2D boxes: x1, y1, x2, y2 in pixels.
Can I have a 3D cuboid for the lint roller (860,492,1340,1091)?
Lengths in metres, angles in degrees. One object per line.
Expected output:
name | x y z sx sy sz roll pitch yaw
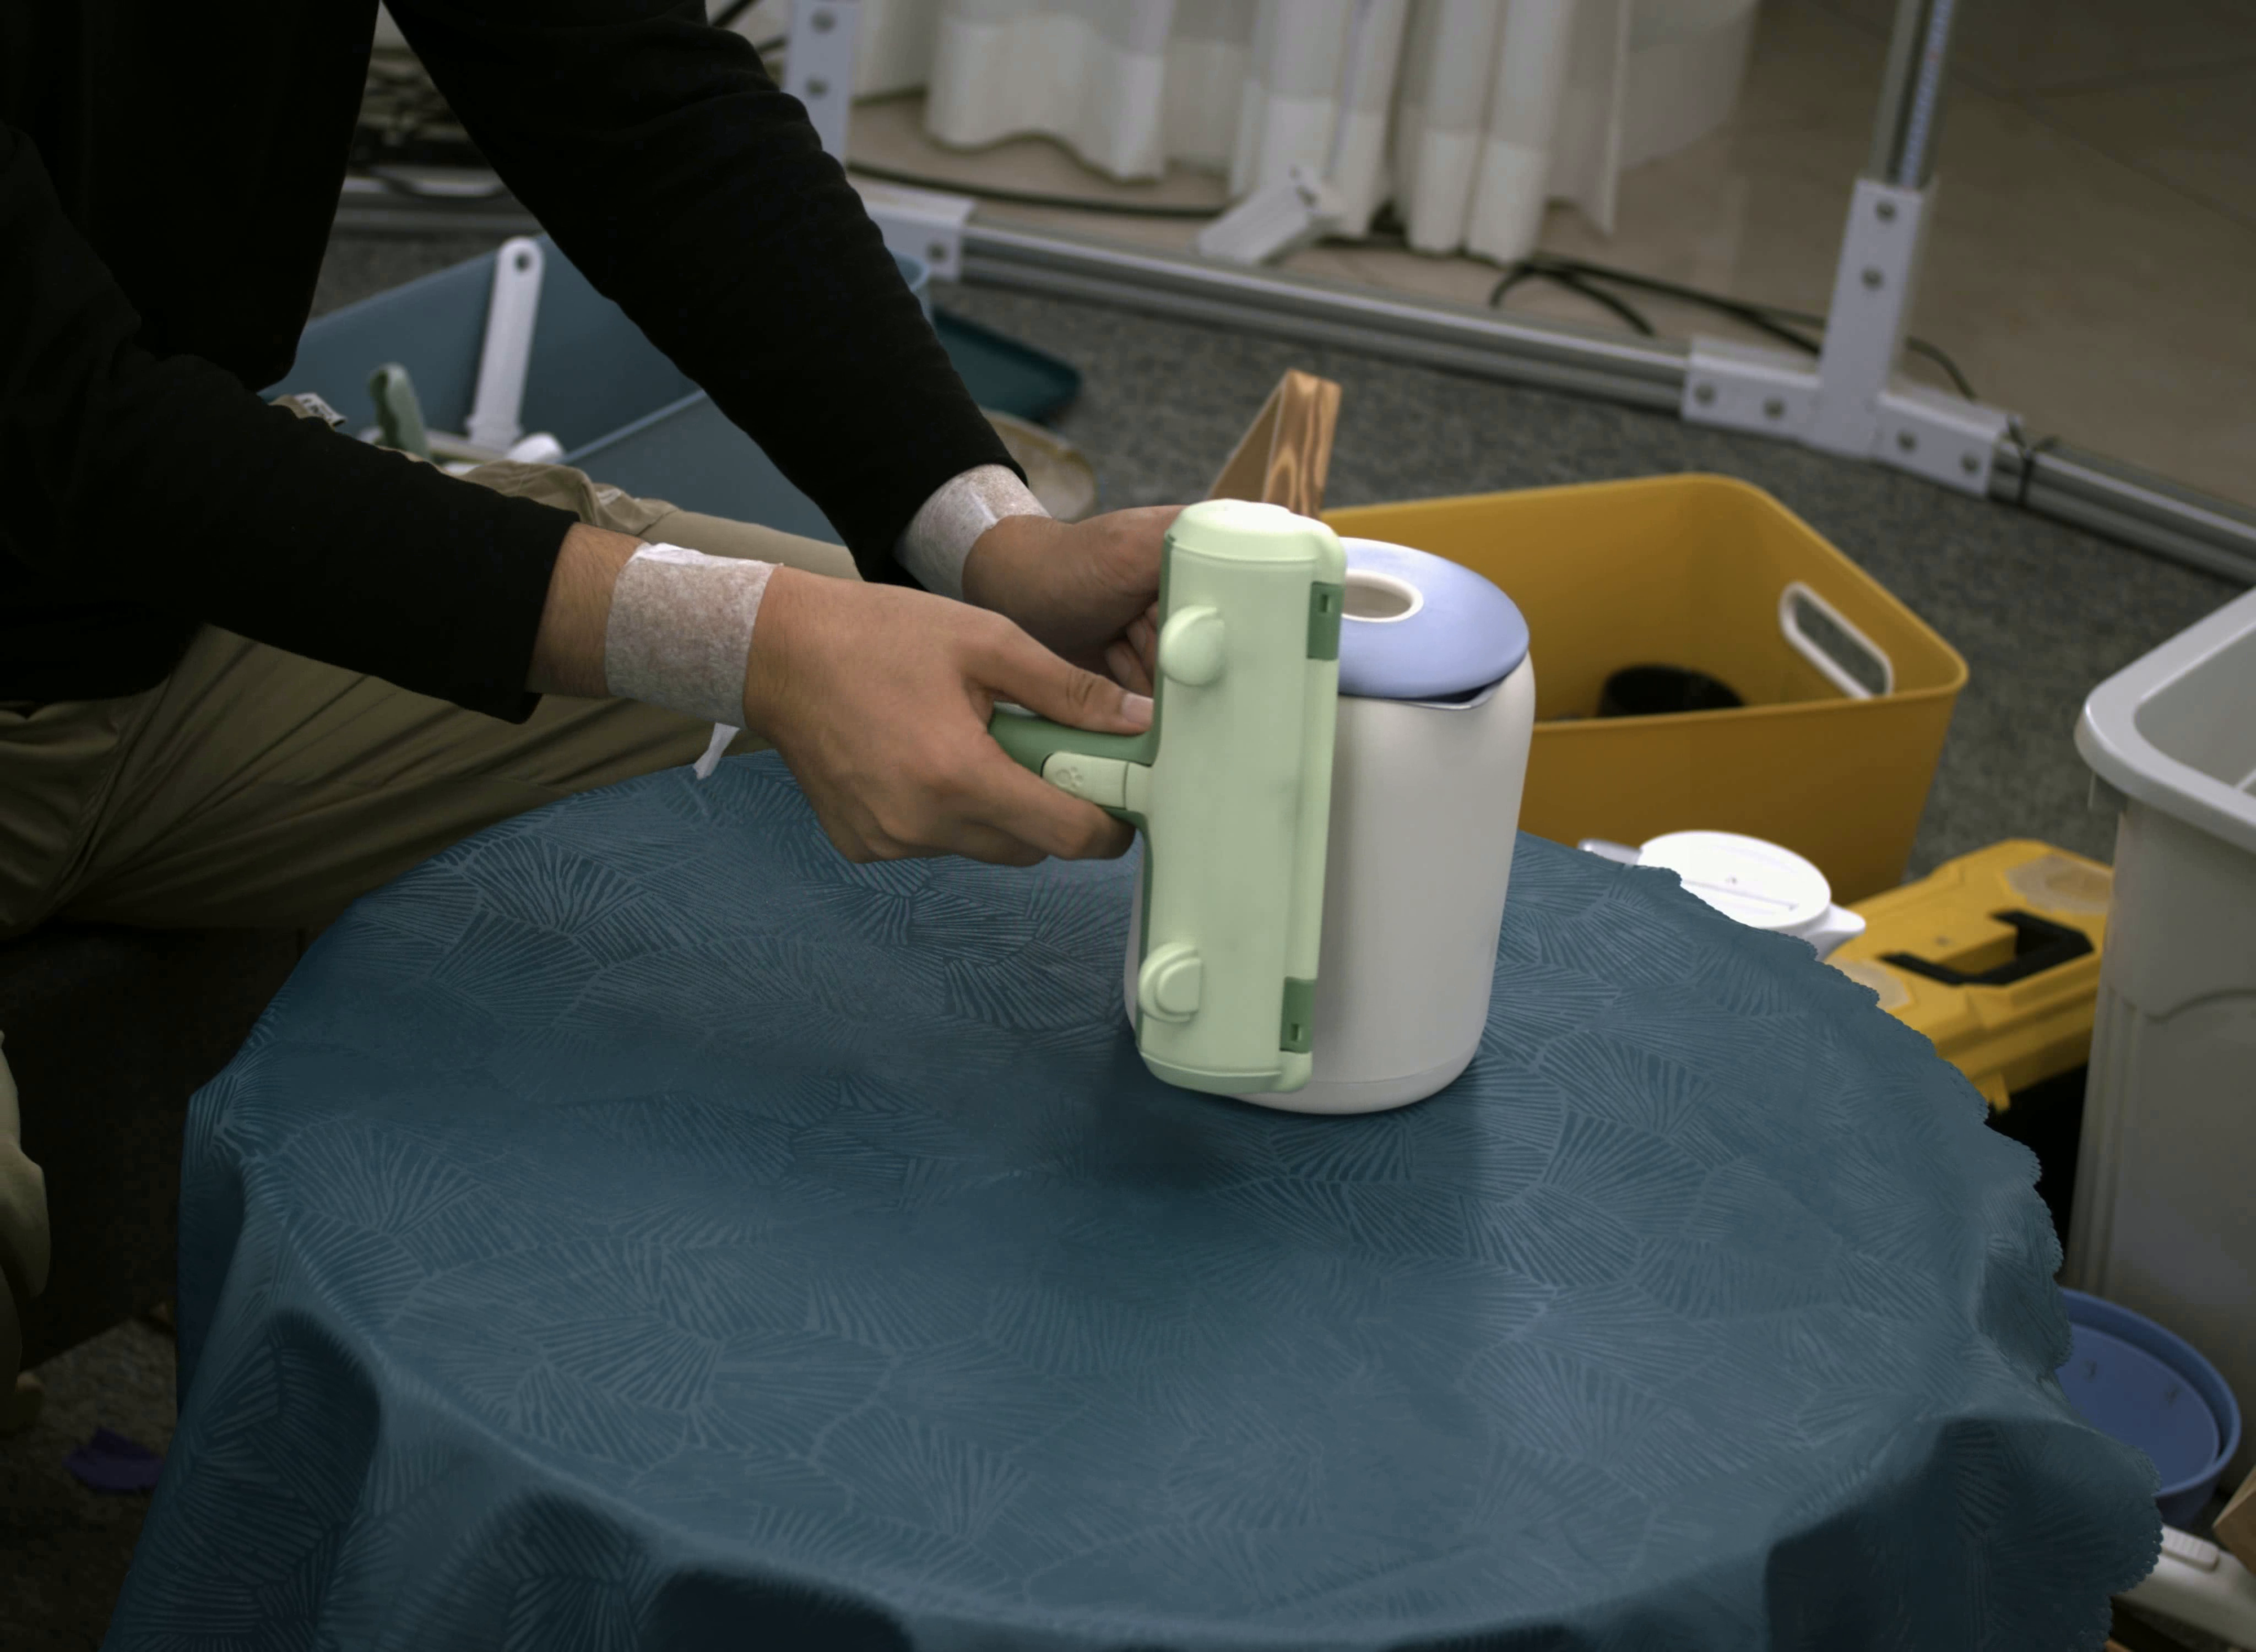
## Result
lint roller | -0.019 -0.017 1.793 0.184 0.198 0.082 8 16 20

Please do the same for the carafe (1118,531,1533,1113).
carafe | 0.057 -0.012 1.892 0.131 0.182 0.193 -11 30 -32
